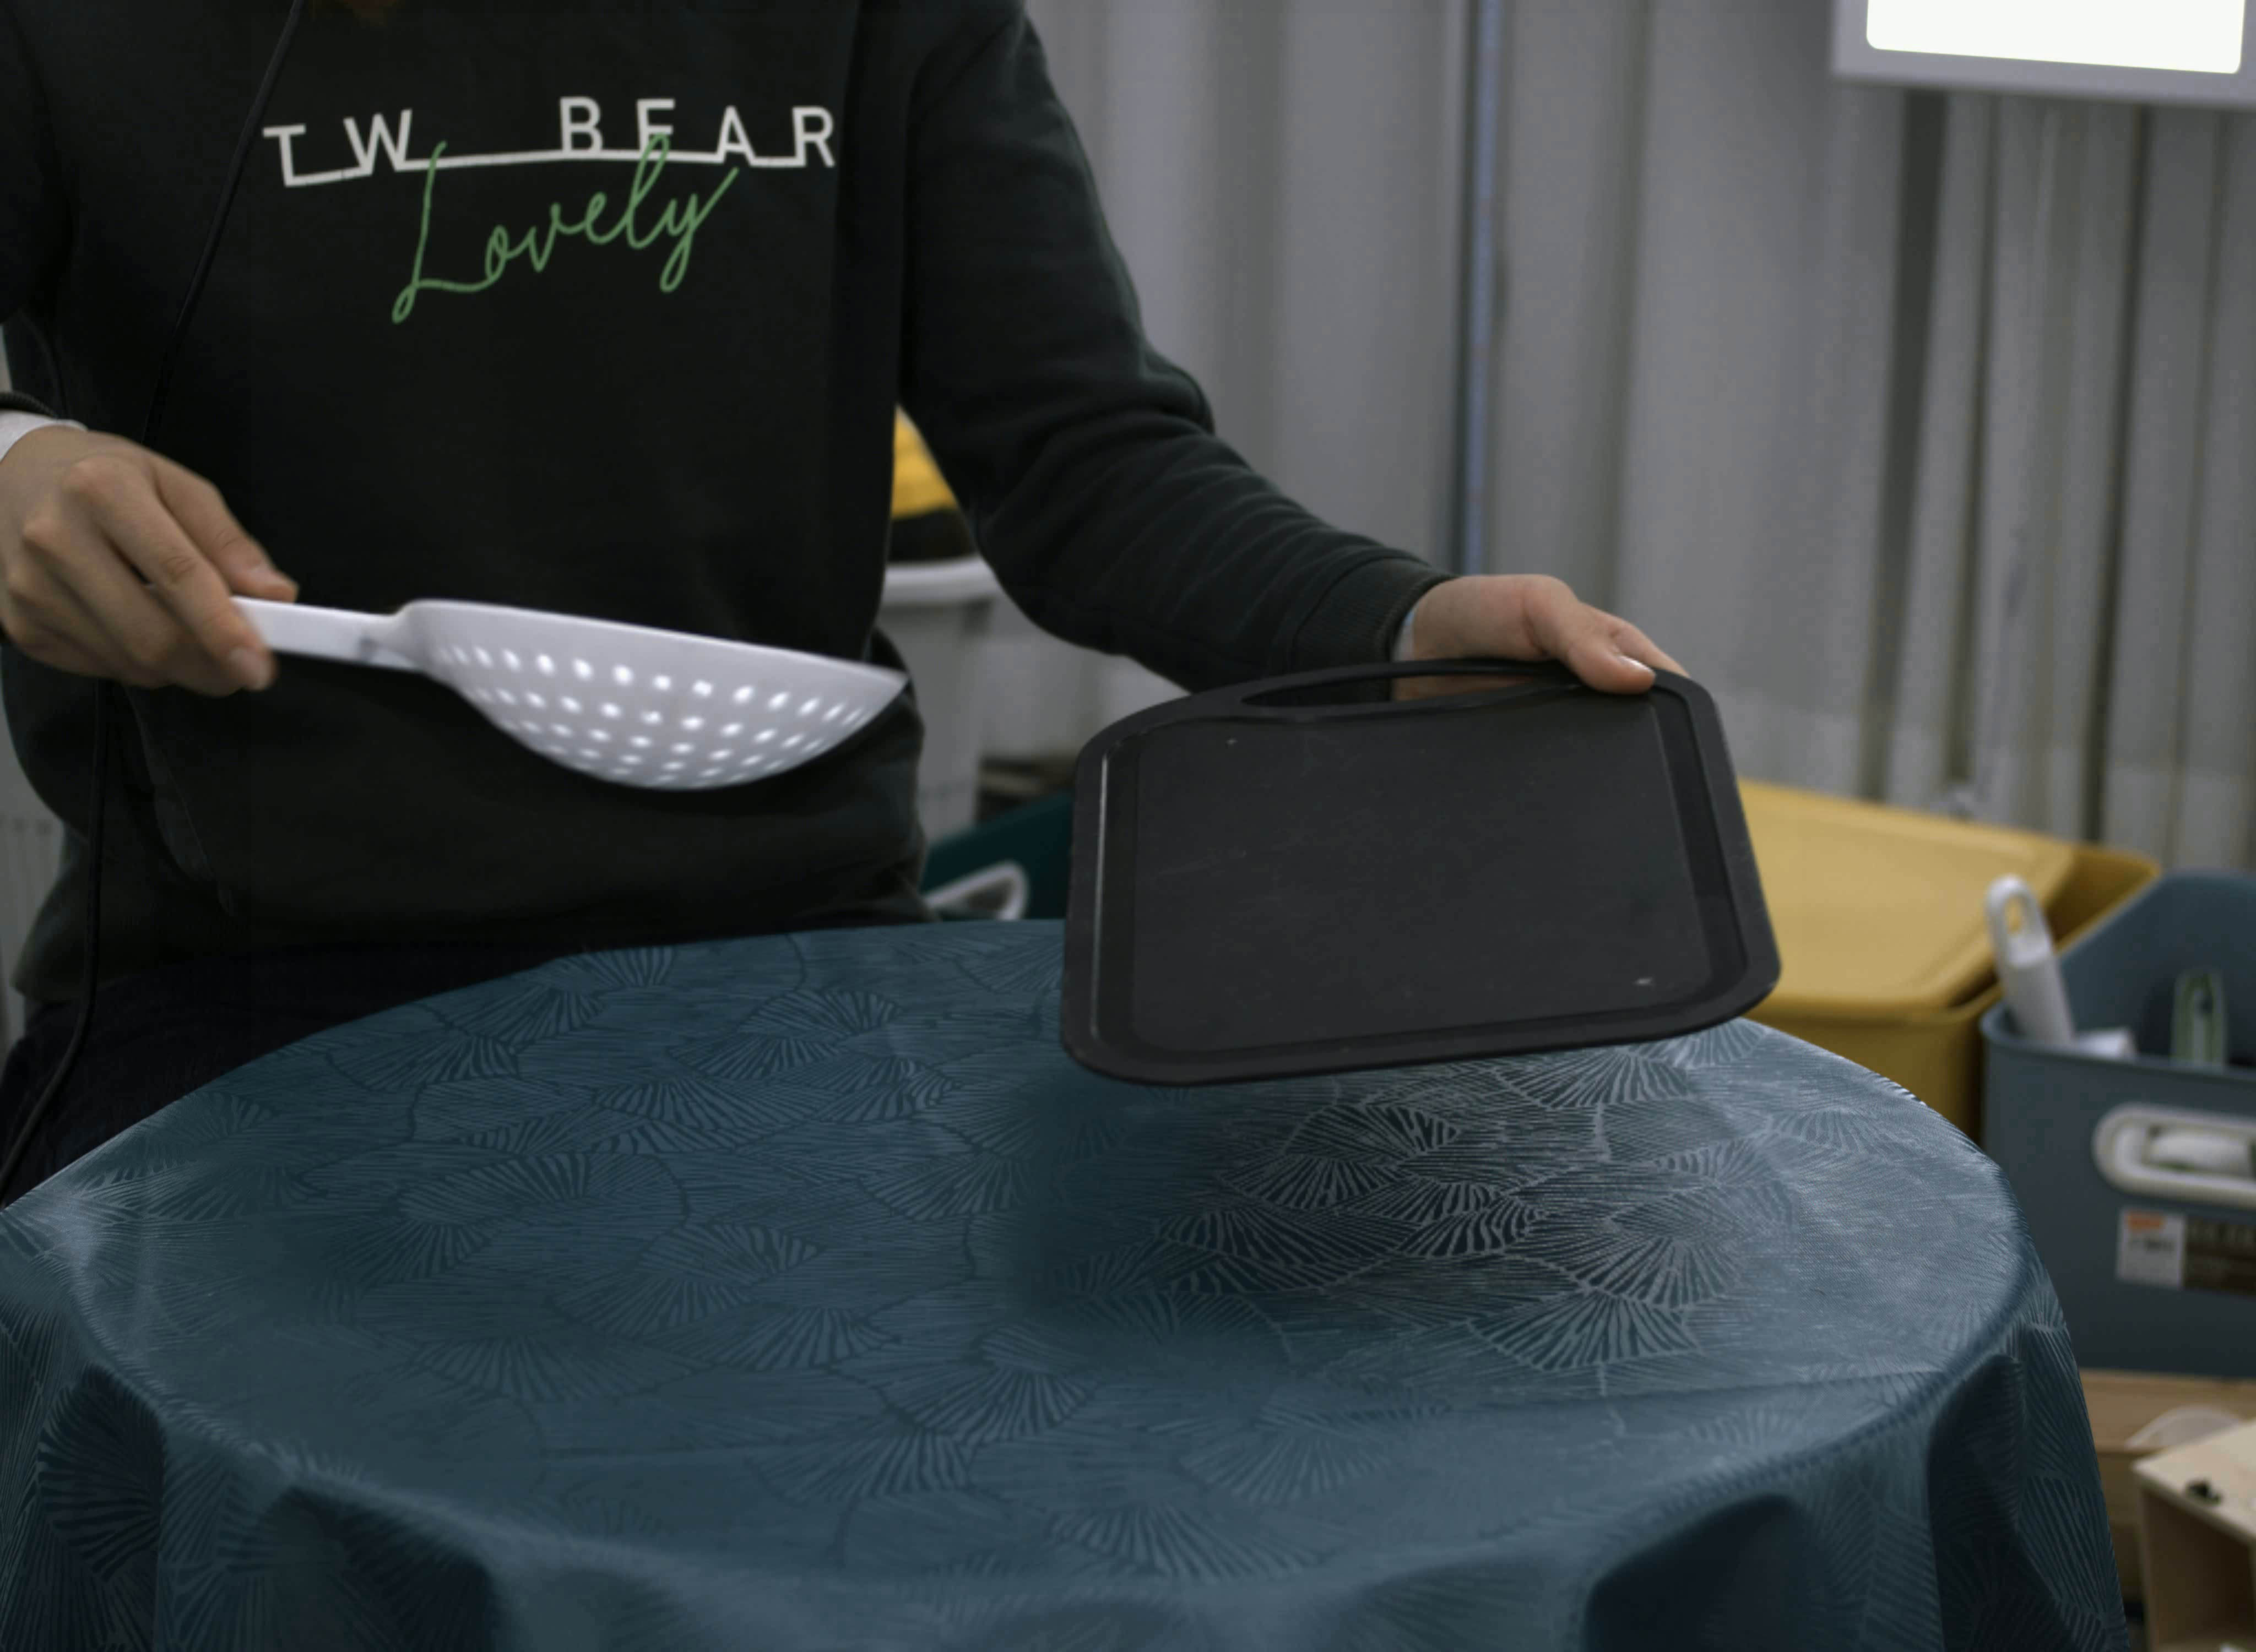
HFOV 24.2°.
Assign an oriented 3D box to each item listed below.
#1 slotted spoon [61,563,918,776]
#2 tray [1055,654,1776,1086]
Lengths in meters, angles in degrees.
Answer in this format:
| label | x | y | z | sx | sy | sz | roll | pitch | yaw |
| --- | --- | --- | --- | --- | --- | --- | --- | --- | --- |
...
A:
| label | x | y | z | sx | sy | sz | roll | pitch | yaw |
| --- | --- | --- | --- | --- | --- | --- | --- | --- | --- |
| slotted spoon | -0.200 | -0.056 | 1.505 | 0.137 | 0.046 | 0.345 | 7 | 5 | -45 |
| tray | 0.085 | 0.005 | 1.626 | 0.210 | 0.010 | 0.323 | -5 | 22 | 3 |
